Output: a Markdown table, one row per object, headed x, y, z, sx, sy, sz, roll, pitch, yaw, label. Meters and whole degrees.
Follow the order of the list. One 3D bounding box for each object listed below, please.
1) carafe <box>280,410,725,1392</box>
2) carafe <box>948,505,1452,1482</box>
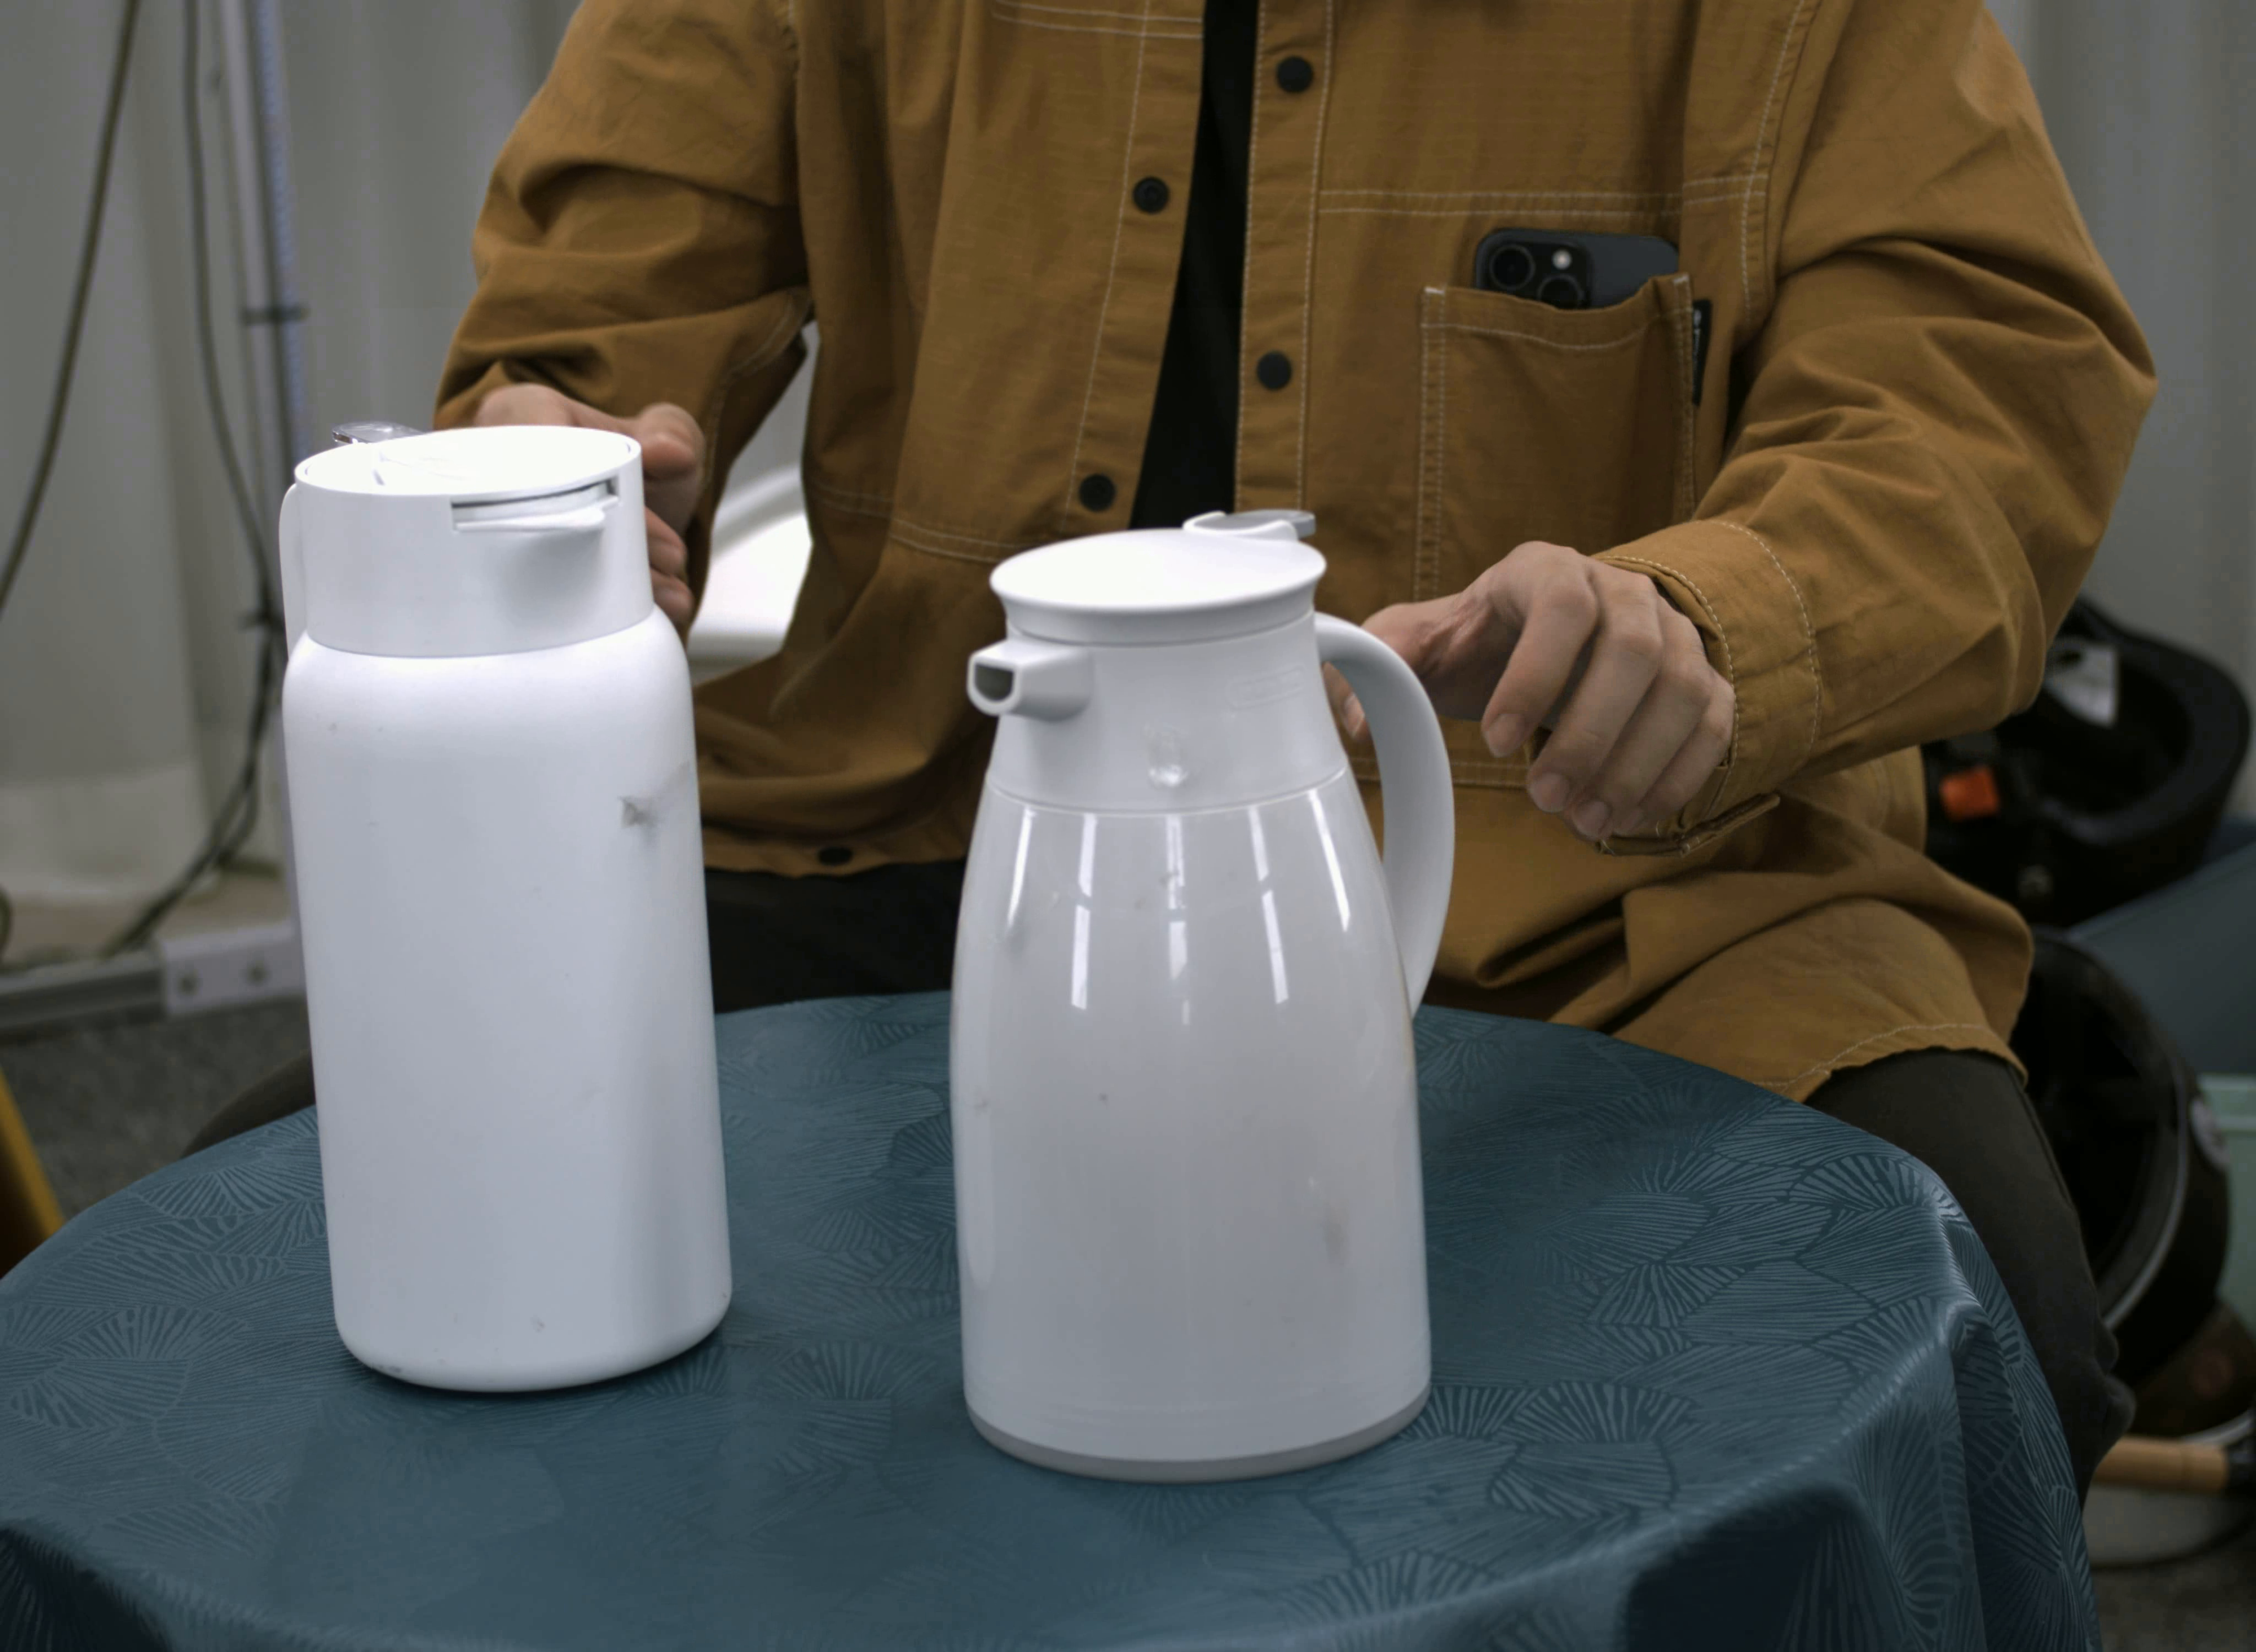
| x | y | z | sx | sy | sz | roll | pitch | yaw | label |
| --- | --- | --- | --- | --- | --- | --- | --- | --- | --- |
| -0.192 | 0.018 | 1.597 | 0.123 | 0.268 | 0.174 | -14 | 17 | -32 | carafe |
| 0.026 | 0.037 | 1.521 | 0.167 | 0.248 | 0.133 | -15 | 18 | -43 | carafe |
